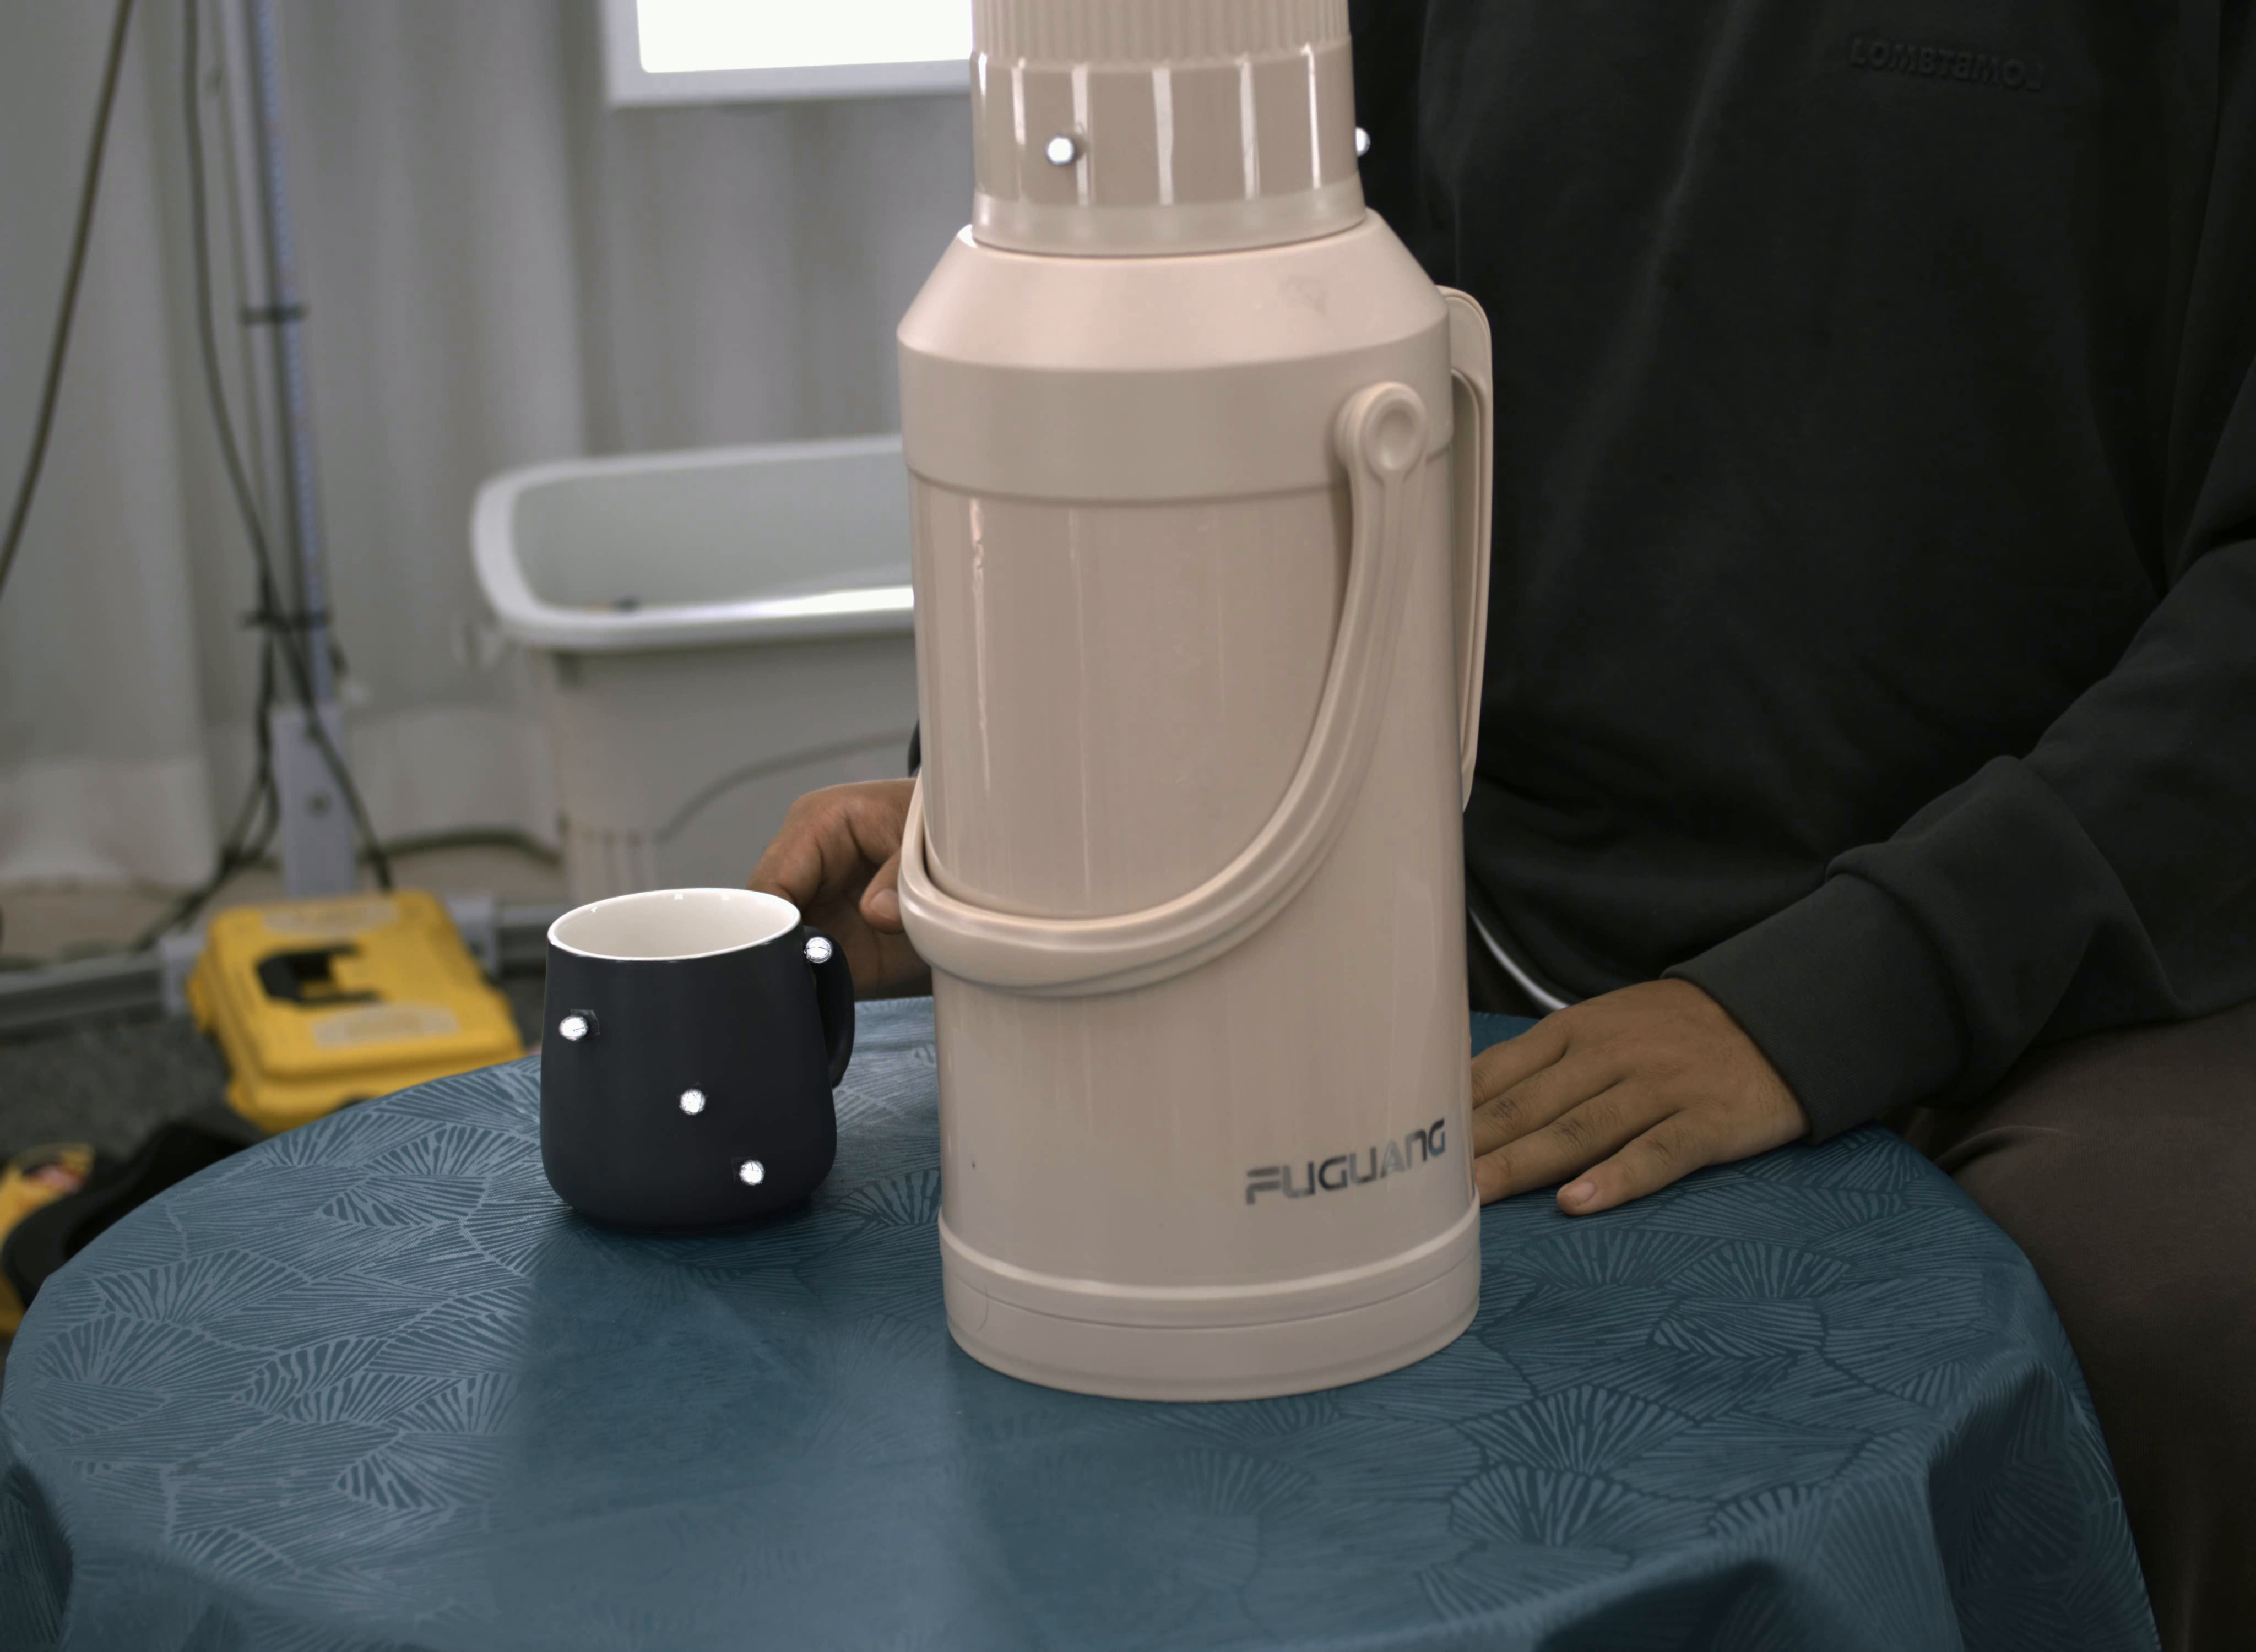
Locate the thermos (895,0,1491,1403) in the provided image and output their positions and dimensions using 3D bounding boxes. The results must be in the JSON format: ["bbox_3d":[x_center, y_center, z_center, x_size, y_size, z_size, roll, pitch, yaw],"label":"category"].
[{"bbox_3d":[0.027,-0.053,1.575,0.206,0.405,0.176,-15,18,-41],"label":"thermos"}]

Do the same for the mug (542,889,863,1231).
[{"bbox_3d":[-0.129,0.070,1.731,0.094,0.089,0.123,10,19,39],"label":"mug"}]
